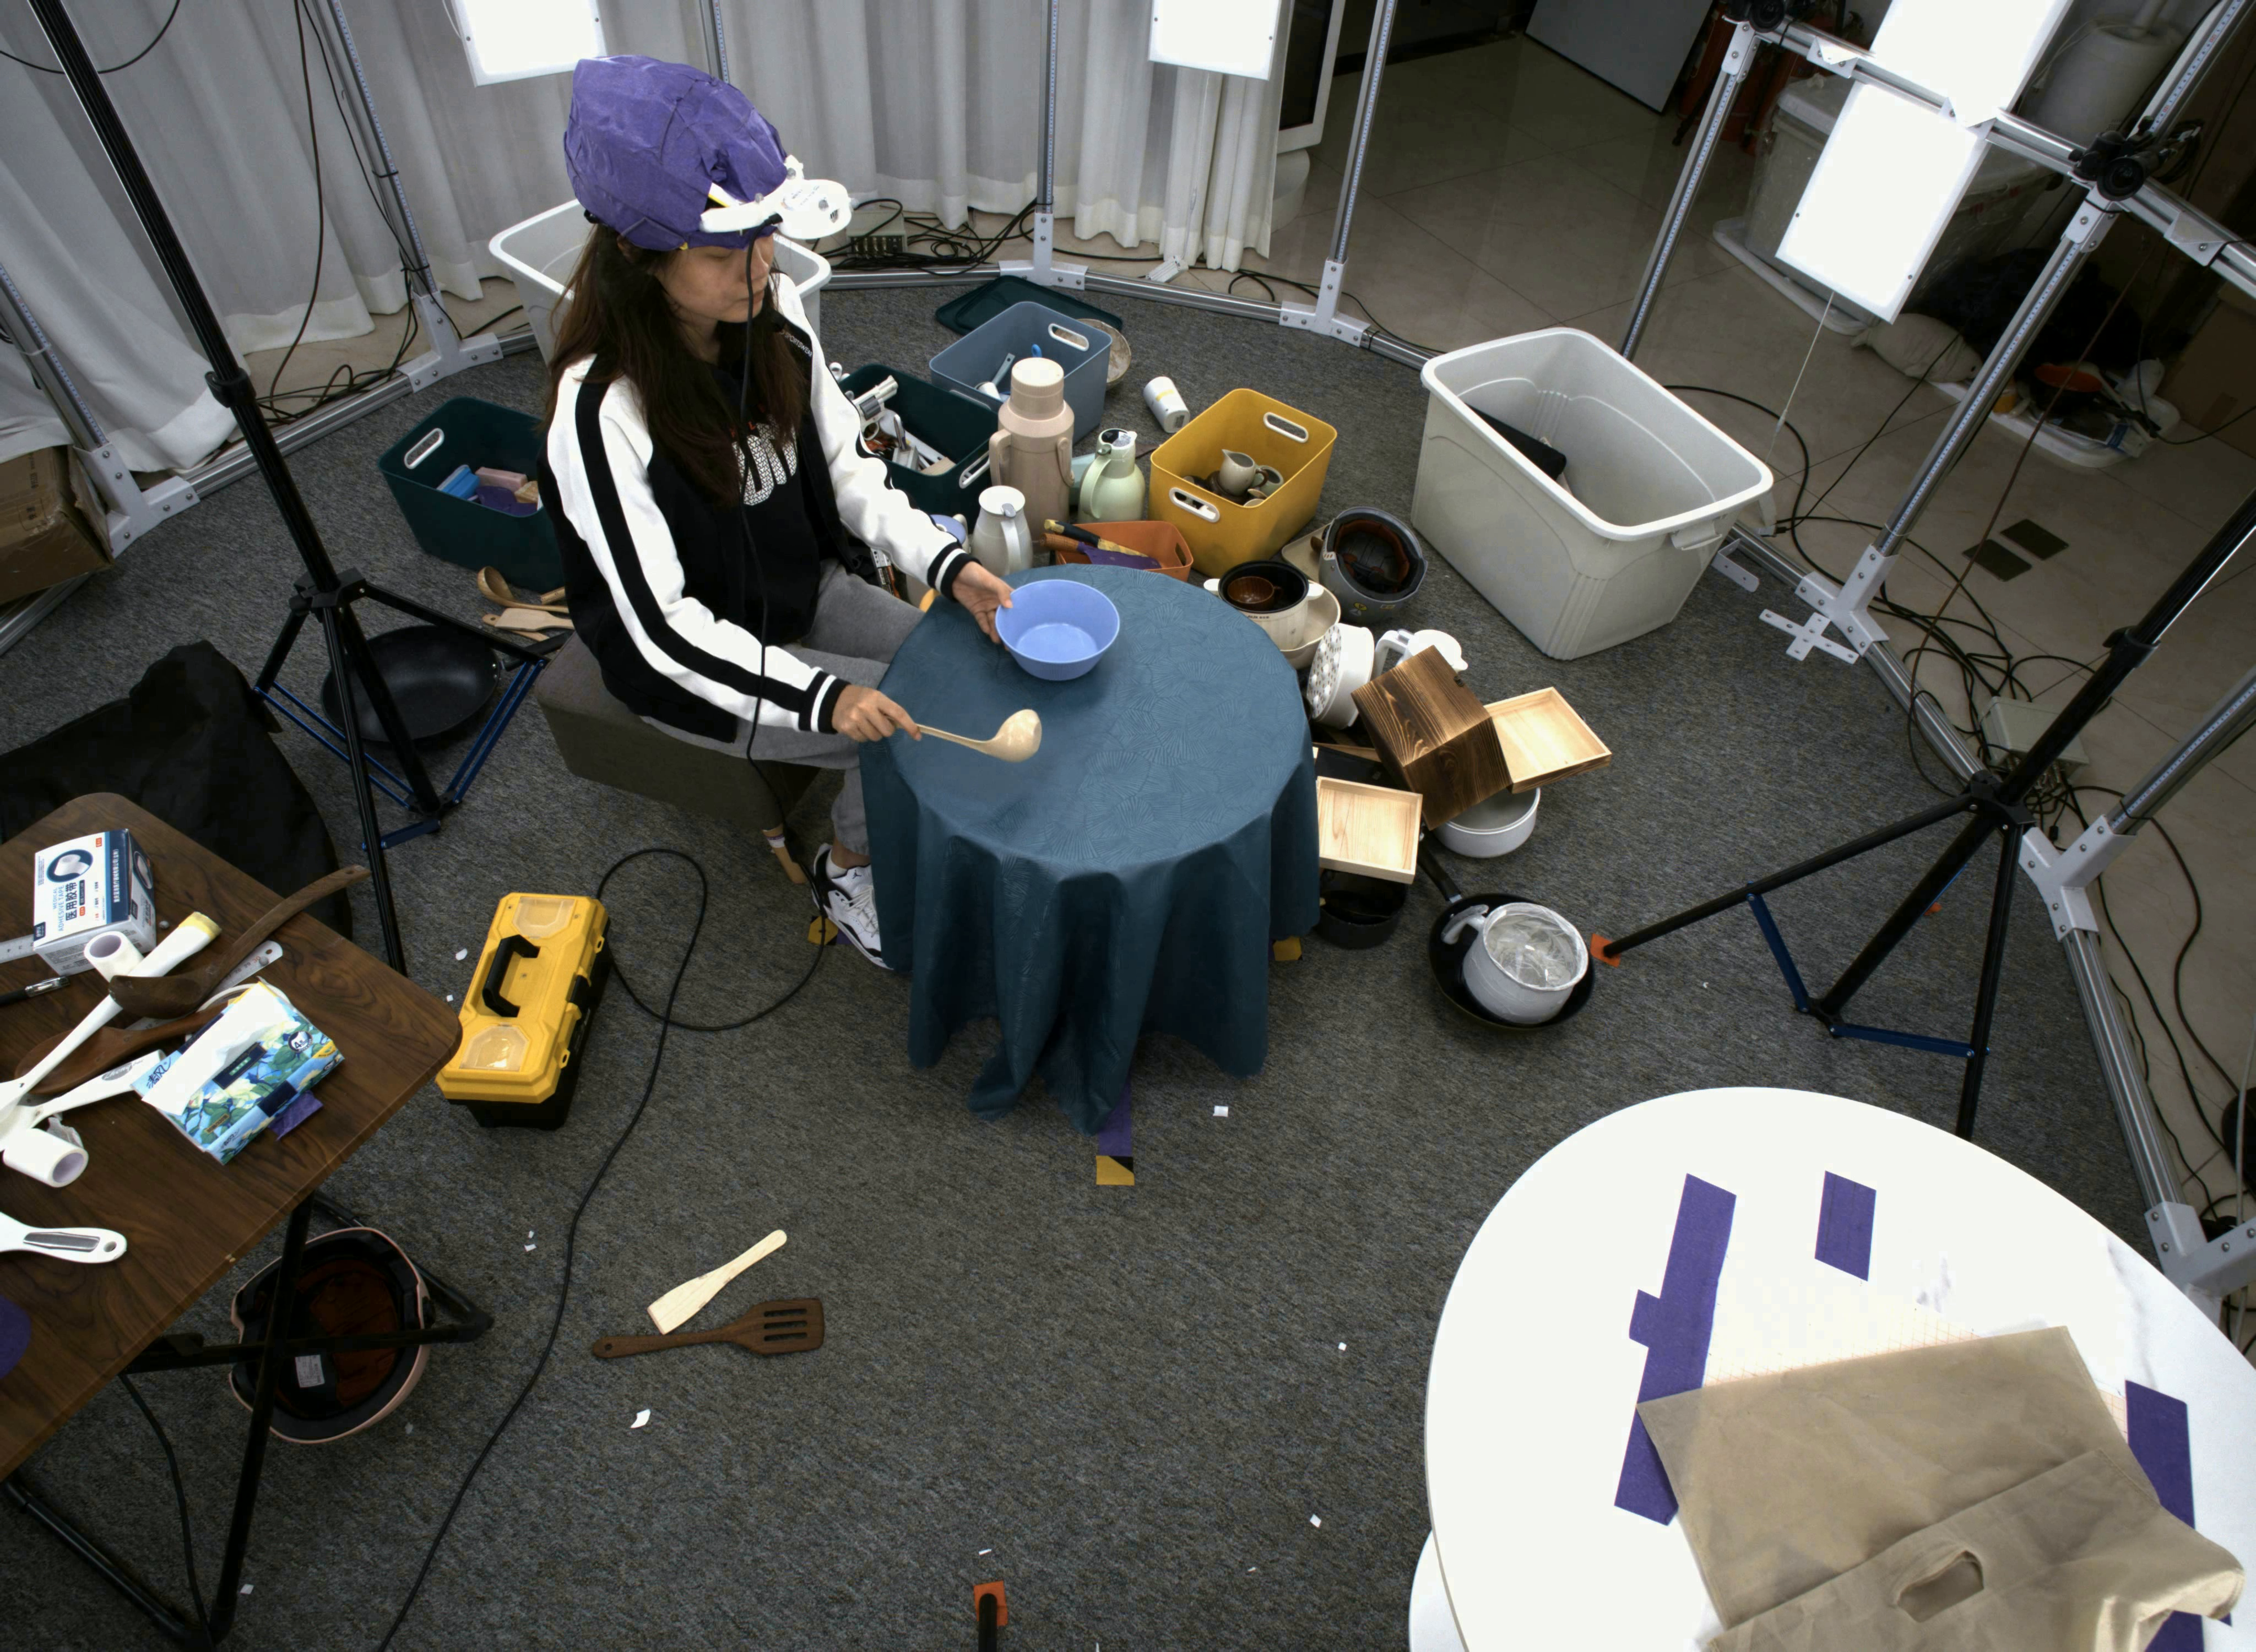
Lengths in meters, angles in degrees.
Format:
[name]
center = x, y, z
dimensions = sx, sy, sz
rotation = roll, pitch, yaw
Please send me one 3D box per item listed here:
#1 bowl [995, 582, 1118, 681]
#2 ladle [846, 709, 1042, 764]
[bowl]
center = -0.103, -0.272, 1.854
dimensions = 0.176, 0.068, 0.180
rotation = 2, 48, -3
[ladle]
center = -0.235, -0.140, 1.669
dimensions = 0.256, 0.070, 0.074
rotation = 15, 50, 15
